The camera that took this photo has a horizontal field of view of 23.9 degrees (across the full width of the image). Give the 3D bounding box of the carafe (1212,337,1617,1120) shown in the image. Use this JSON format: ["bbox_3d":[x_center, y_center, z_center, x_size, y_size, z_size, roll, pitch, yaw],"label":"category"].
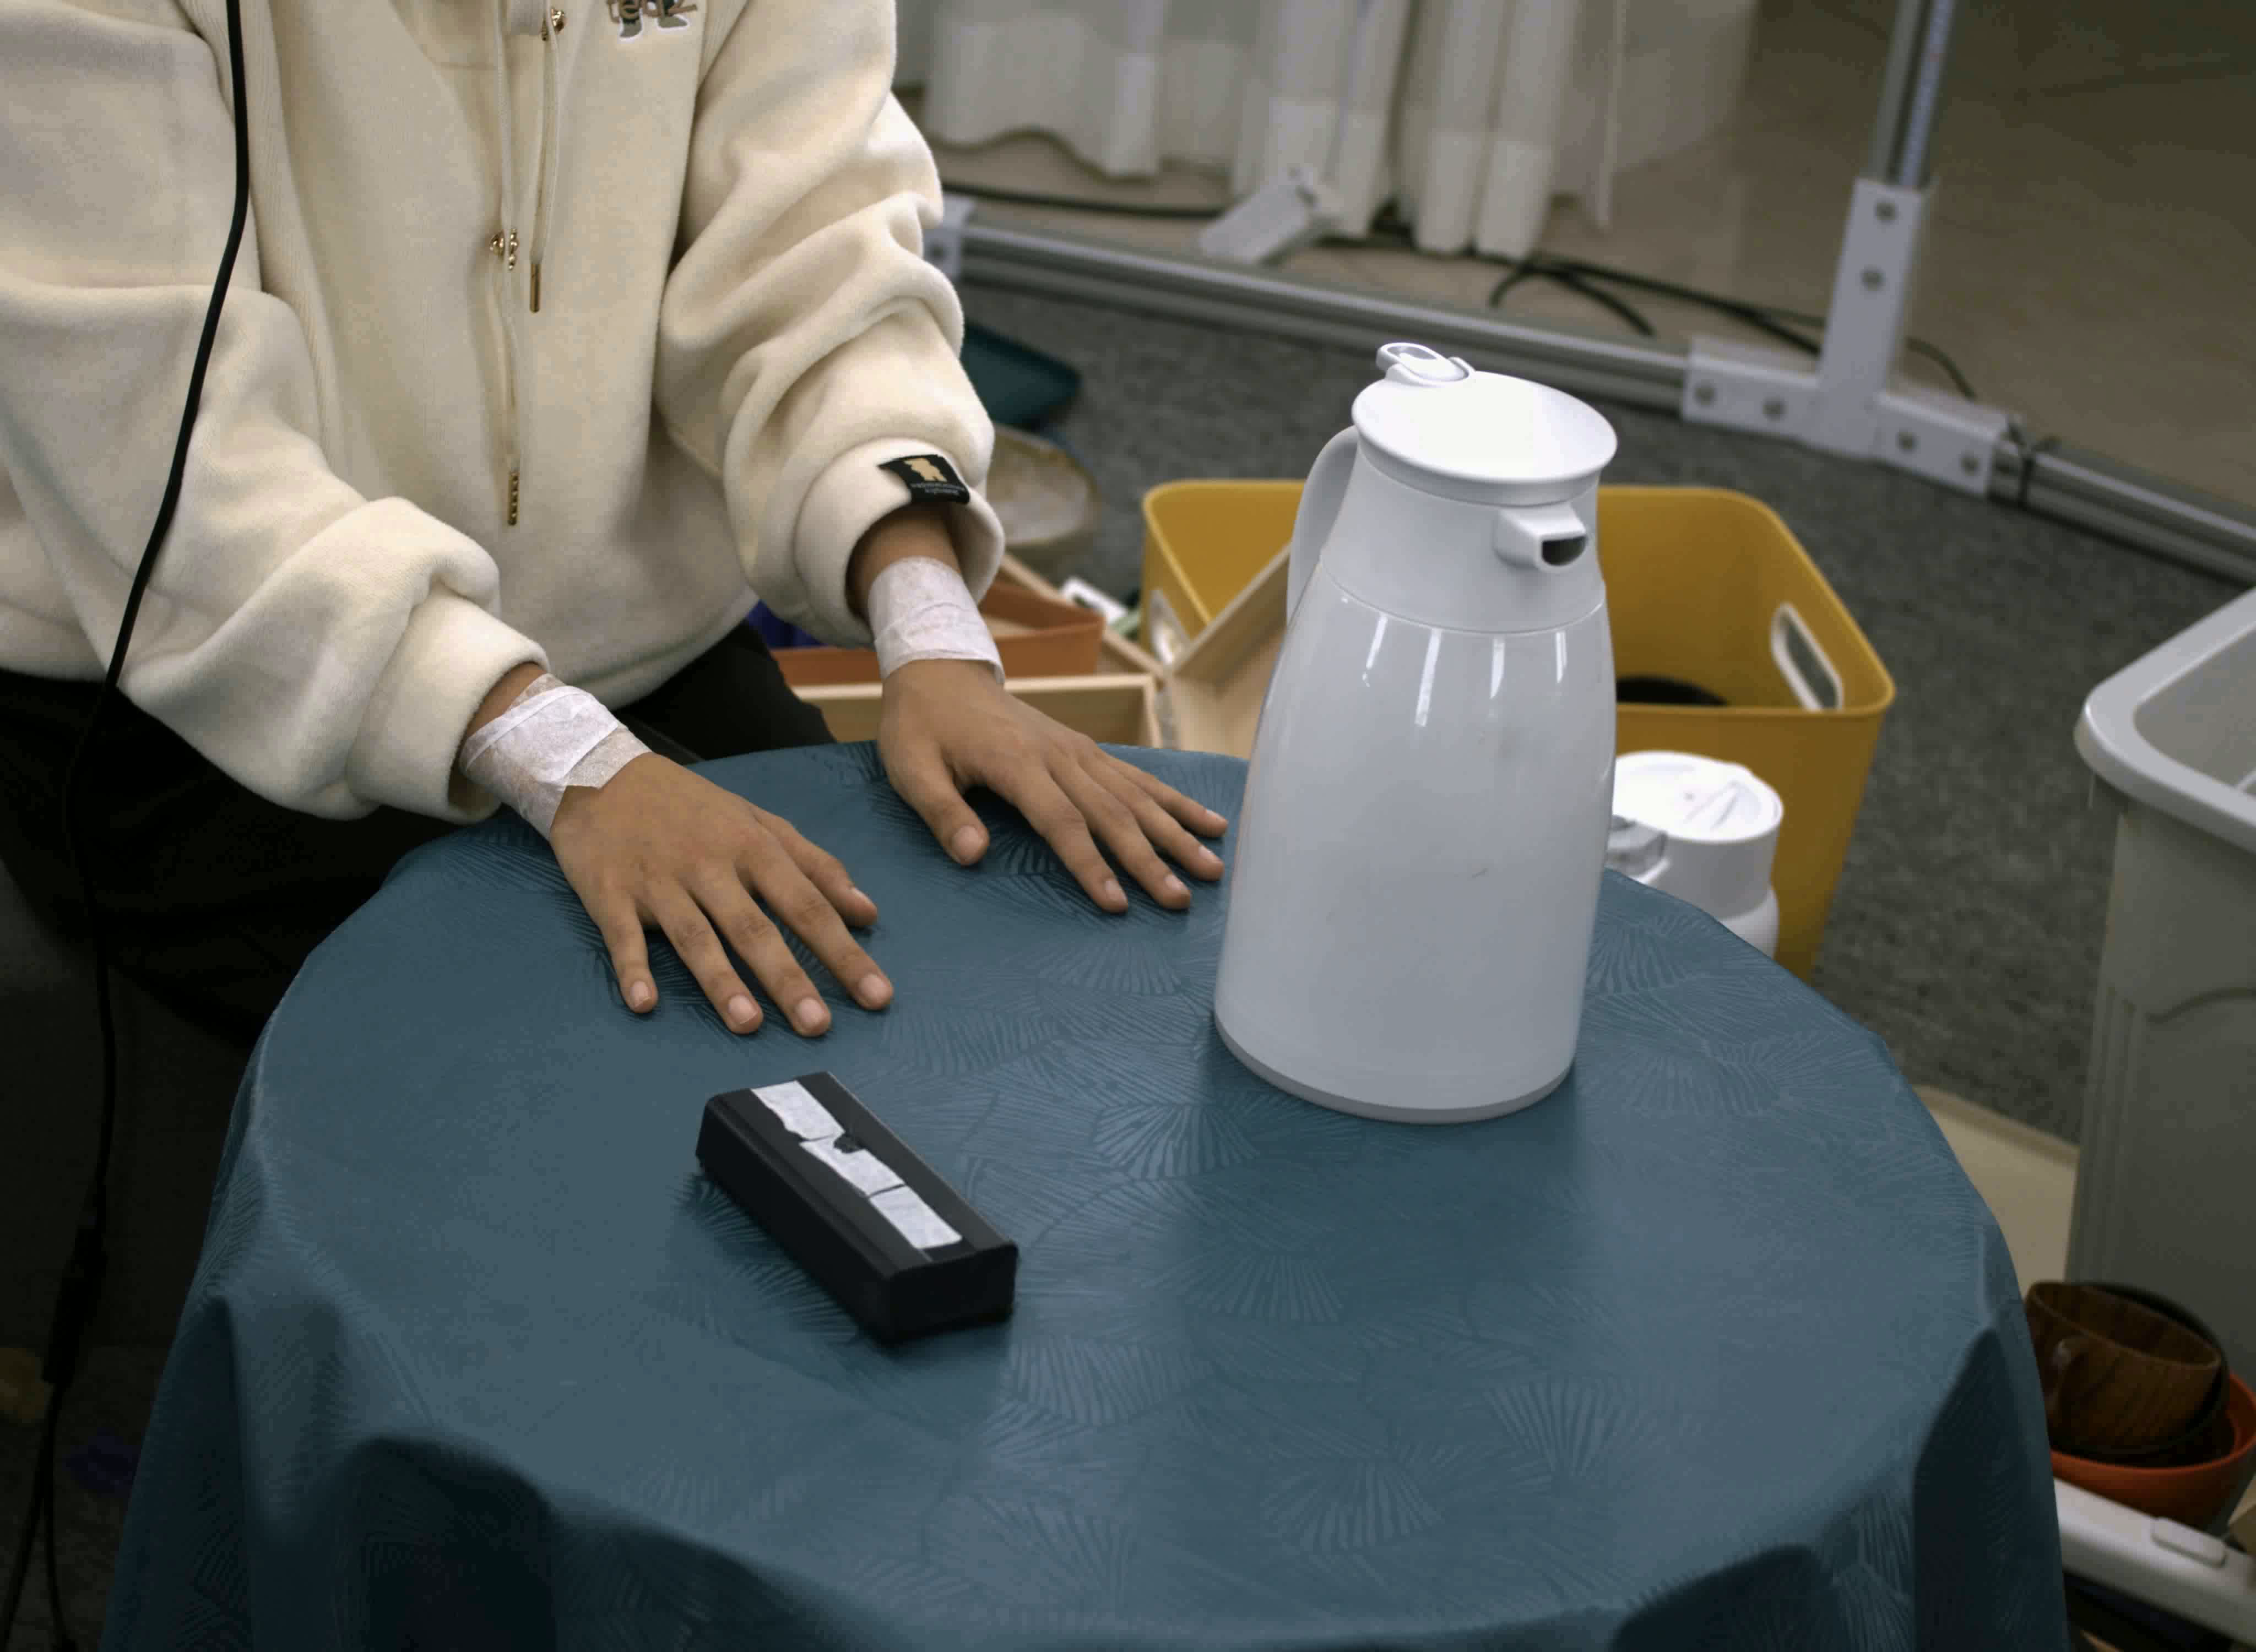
[{"bbox_3d":[0.099,-0.044,1.880,0.131,0.248,0.169,-7,29,-25],"label":"carafe"}]

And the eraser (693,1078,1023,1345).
[{"bbox_3d":[-0.090,0.126,1.746,0.053,0.030,0.126,-10,31,-34],"label":"eraser"}]
